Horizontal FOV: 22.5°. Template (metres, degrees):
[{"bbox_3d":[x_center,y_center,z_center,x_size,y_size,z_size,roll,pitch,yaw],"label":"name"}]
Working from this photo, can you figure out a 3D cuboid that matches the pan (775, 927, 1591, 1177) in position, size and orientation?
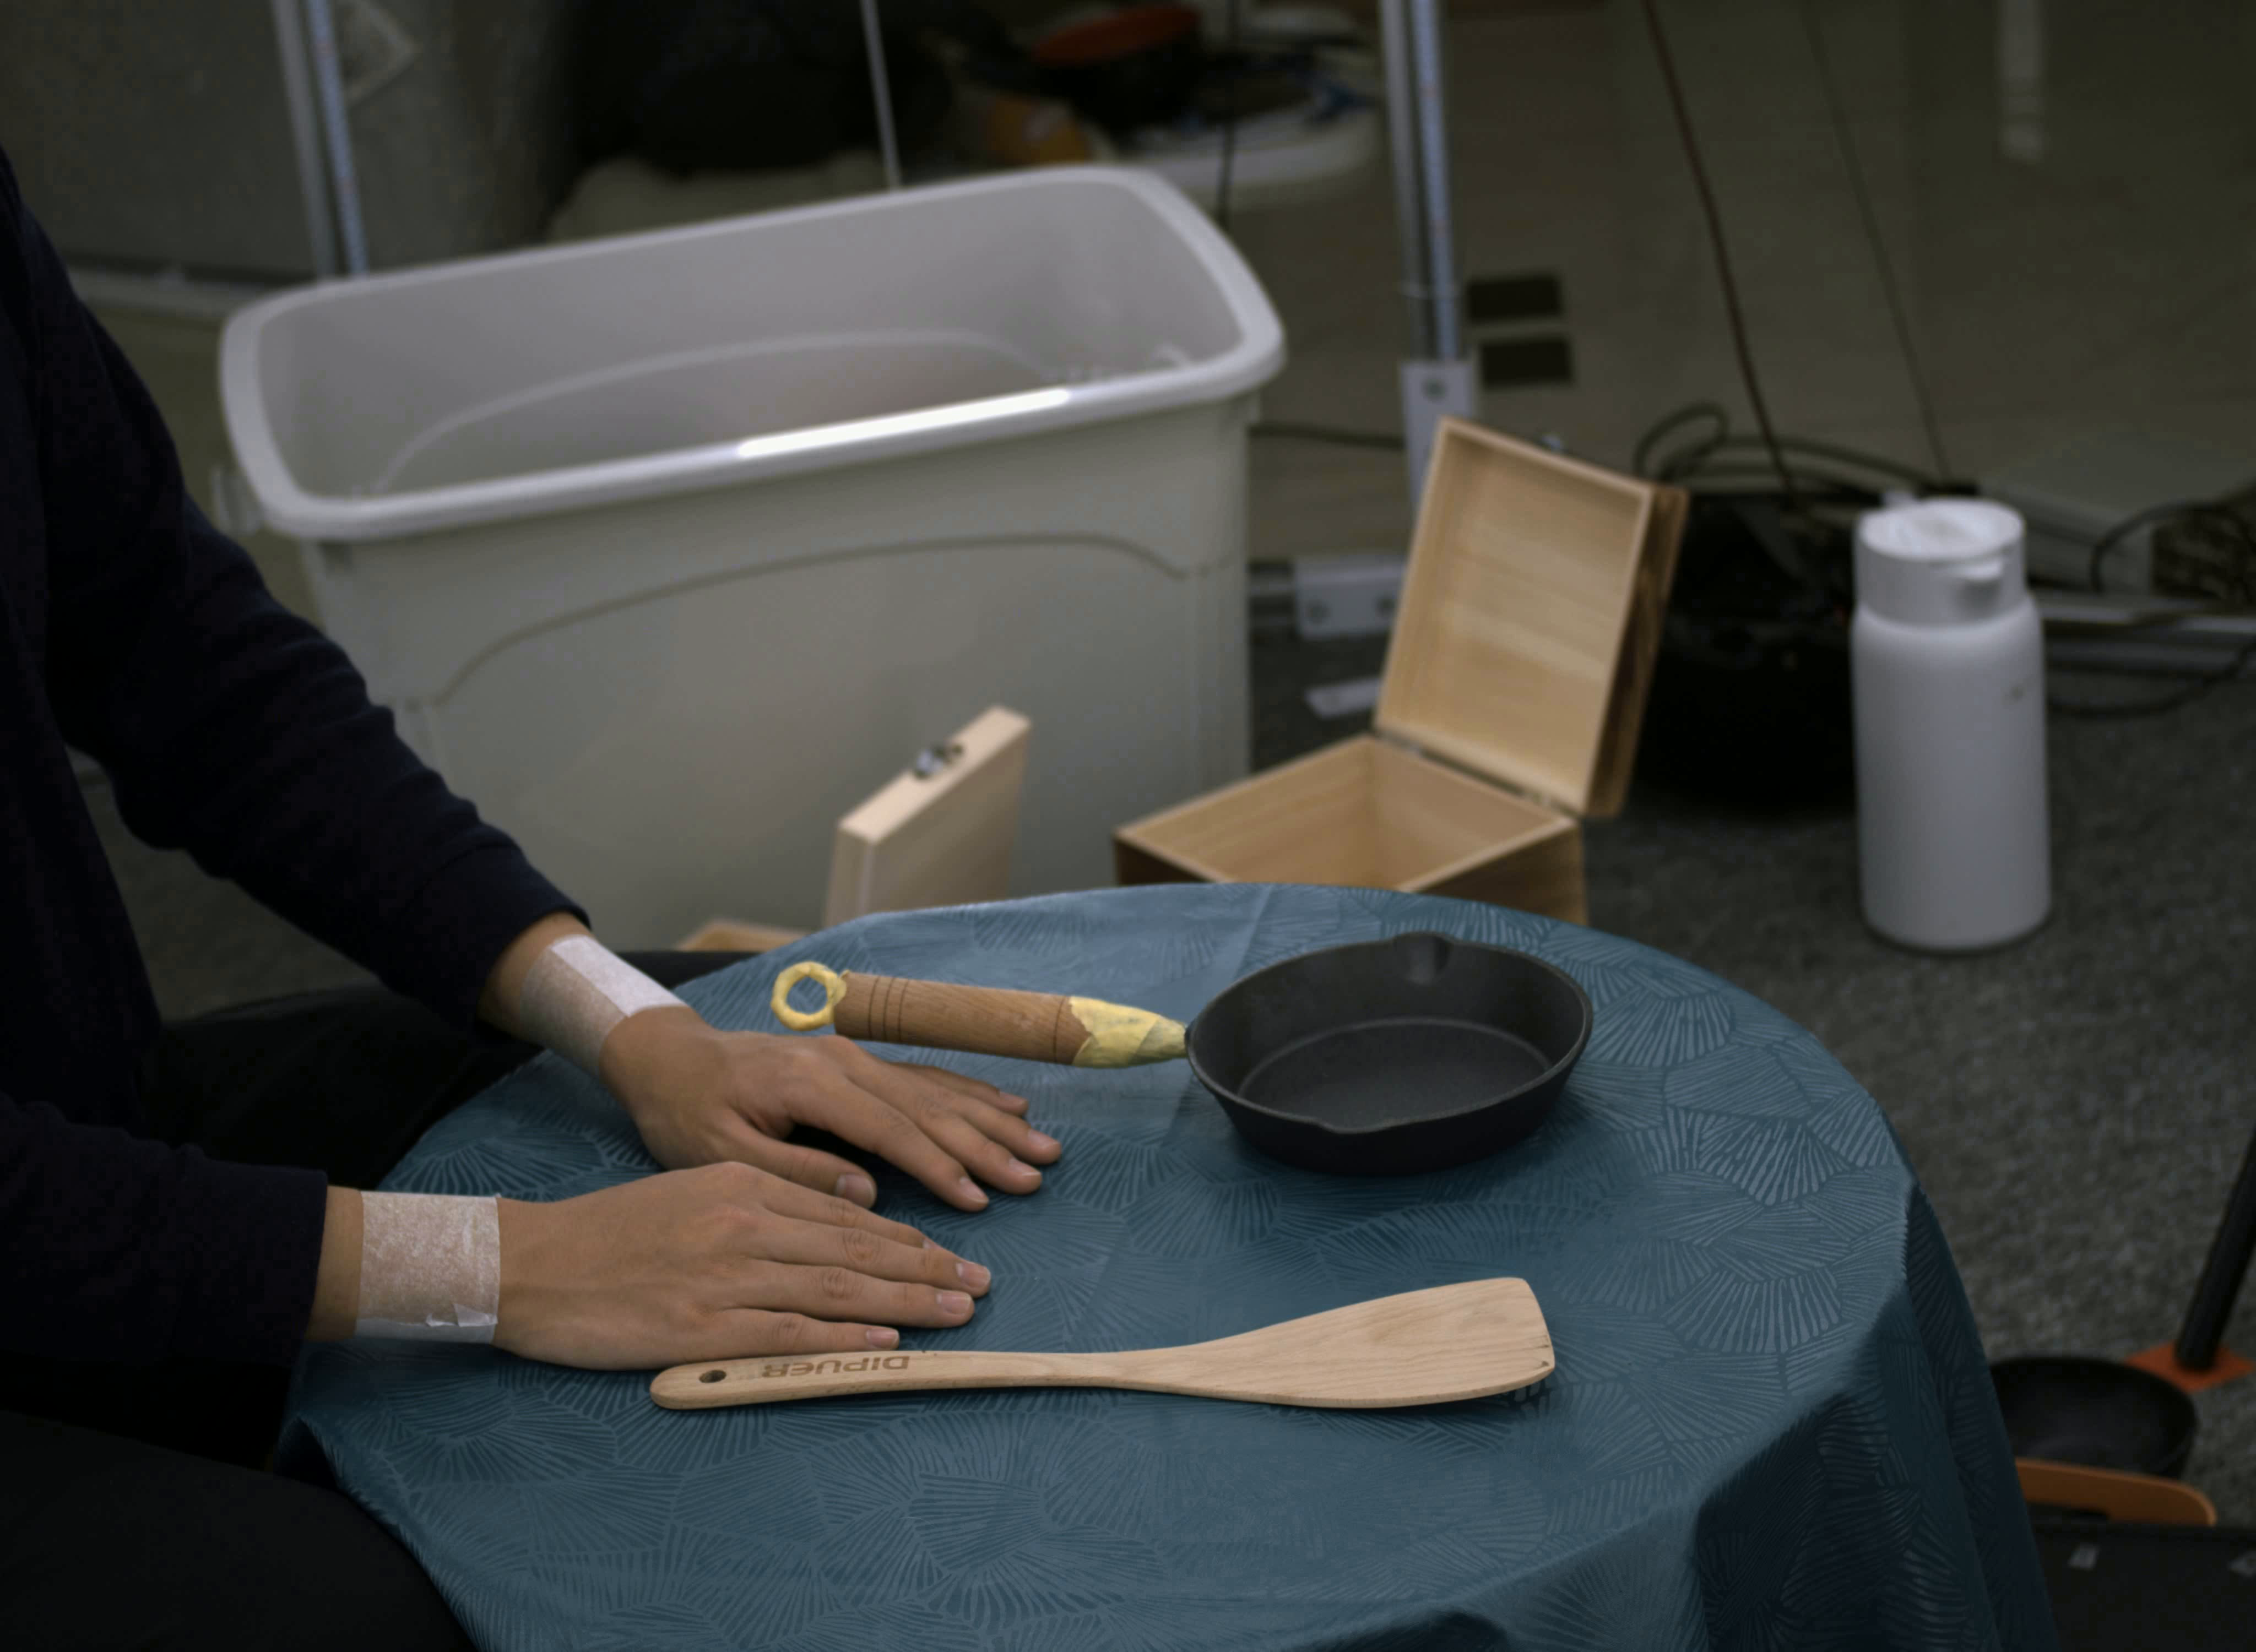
[{"bbox_3d":[0.020,0.082,2.202,0.323,0.050,0.166,2,26,15],"label":"pan"}]

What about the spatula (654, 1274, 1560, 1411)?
[{"bbox_3d":[-0.009,0.189,2.023,0.327,0.017,0.079,-3,24,7],"label":"spatula"}]
